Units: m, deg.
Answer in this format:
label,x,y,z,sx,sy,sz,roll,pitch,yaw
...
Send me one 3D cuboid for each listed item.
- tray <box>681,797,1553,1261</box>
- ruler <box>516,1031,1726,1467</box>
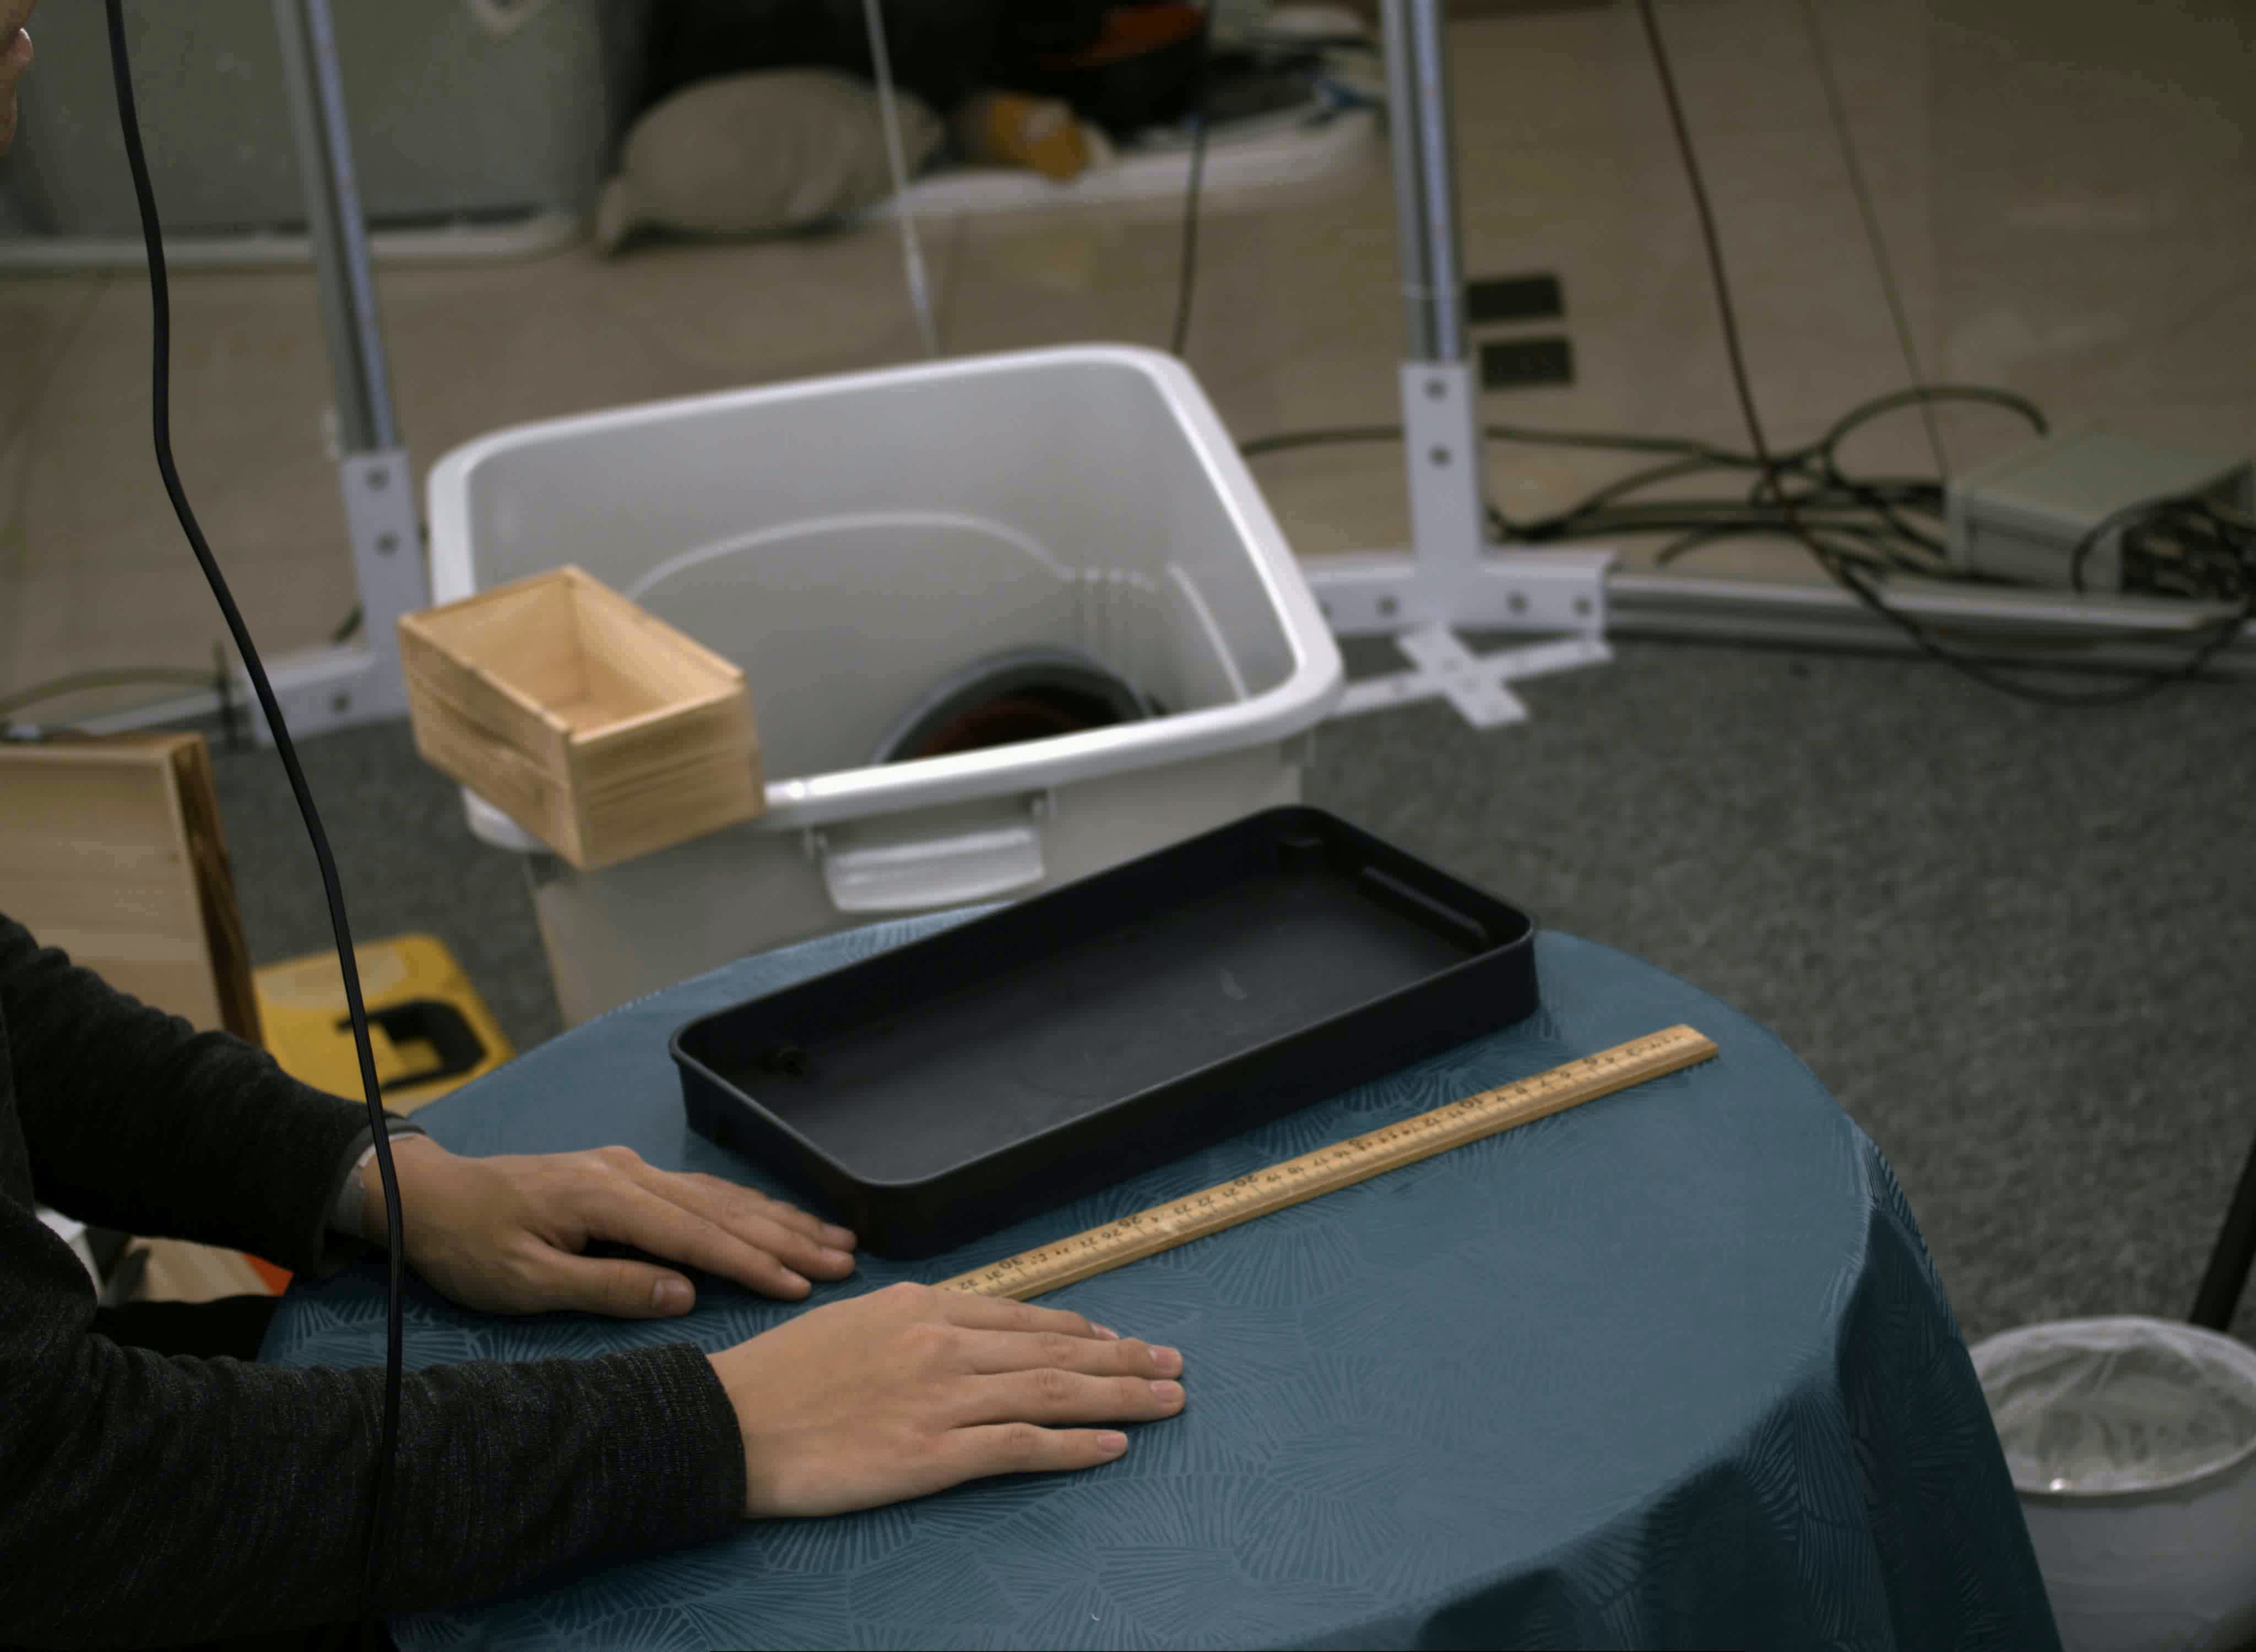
label,x,y,z,sx,sy,sz,roll,pitch,yaw
tray,-0.002,0.075,2.243,0.316,0.037,0.182,-22,28,-28
ruler,0.005,0.153,2.112,0.498,0.006,0.026,-17,25,-22
